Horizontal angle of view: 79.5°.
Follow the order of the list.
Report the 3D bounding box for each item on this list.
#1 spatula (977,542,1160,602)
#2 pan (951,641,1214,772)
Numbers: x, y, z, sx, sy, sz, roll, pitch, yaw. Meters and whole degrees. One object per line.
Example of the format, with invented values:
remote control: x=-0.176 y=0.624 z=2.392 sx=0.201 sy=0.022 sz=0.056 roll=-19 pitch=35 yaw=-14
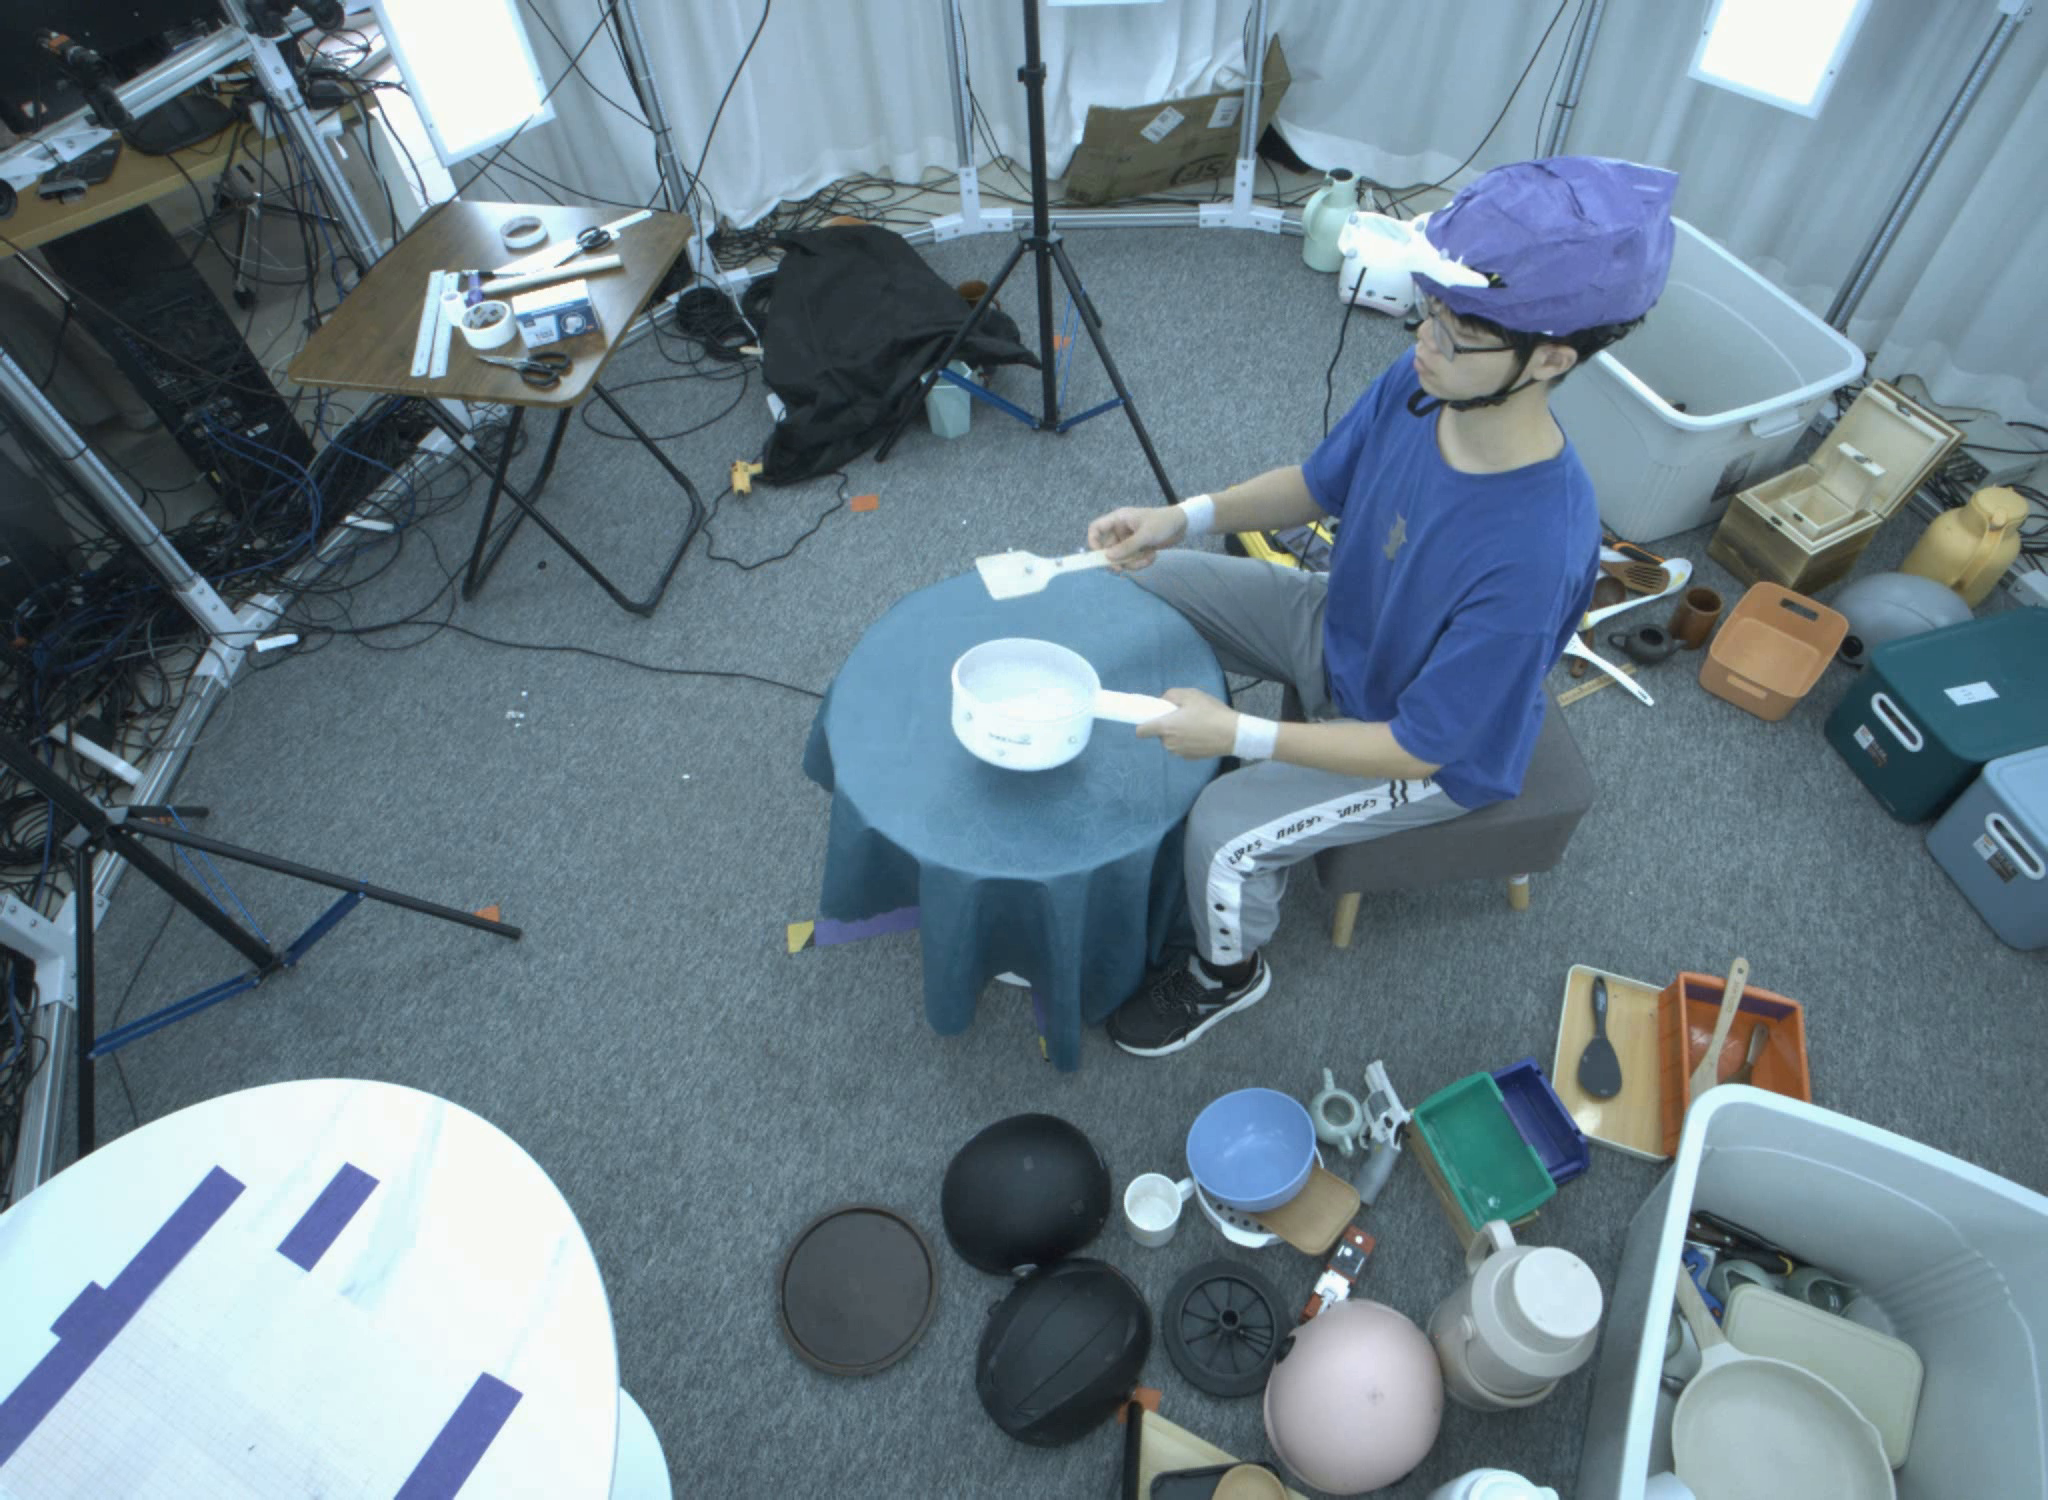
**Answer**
spatula: x=0.071 y=-0.262 z=1.727 sx=0.297 sy=0.010 sz=0.071 roll=-15 pitch=70 yaw=-29
pan: x=0.075 y=-0.043 z=1.672 sx=0.354 sy=0.103 sz=0.200 roll=10 pitch=35 yaw=2
